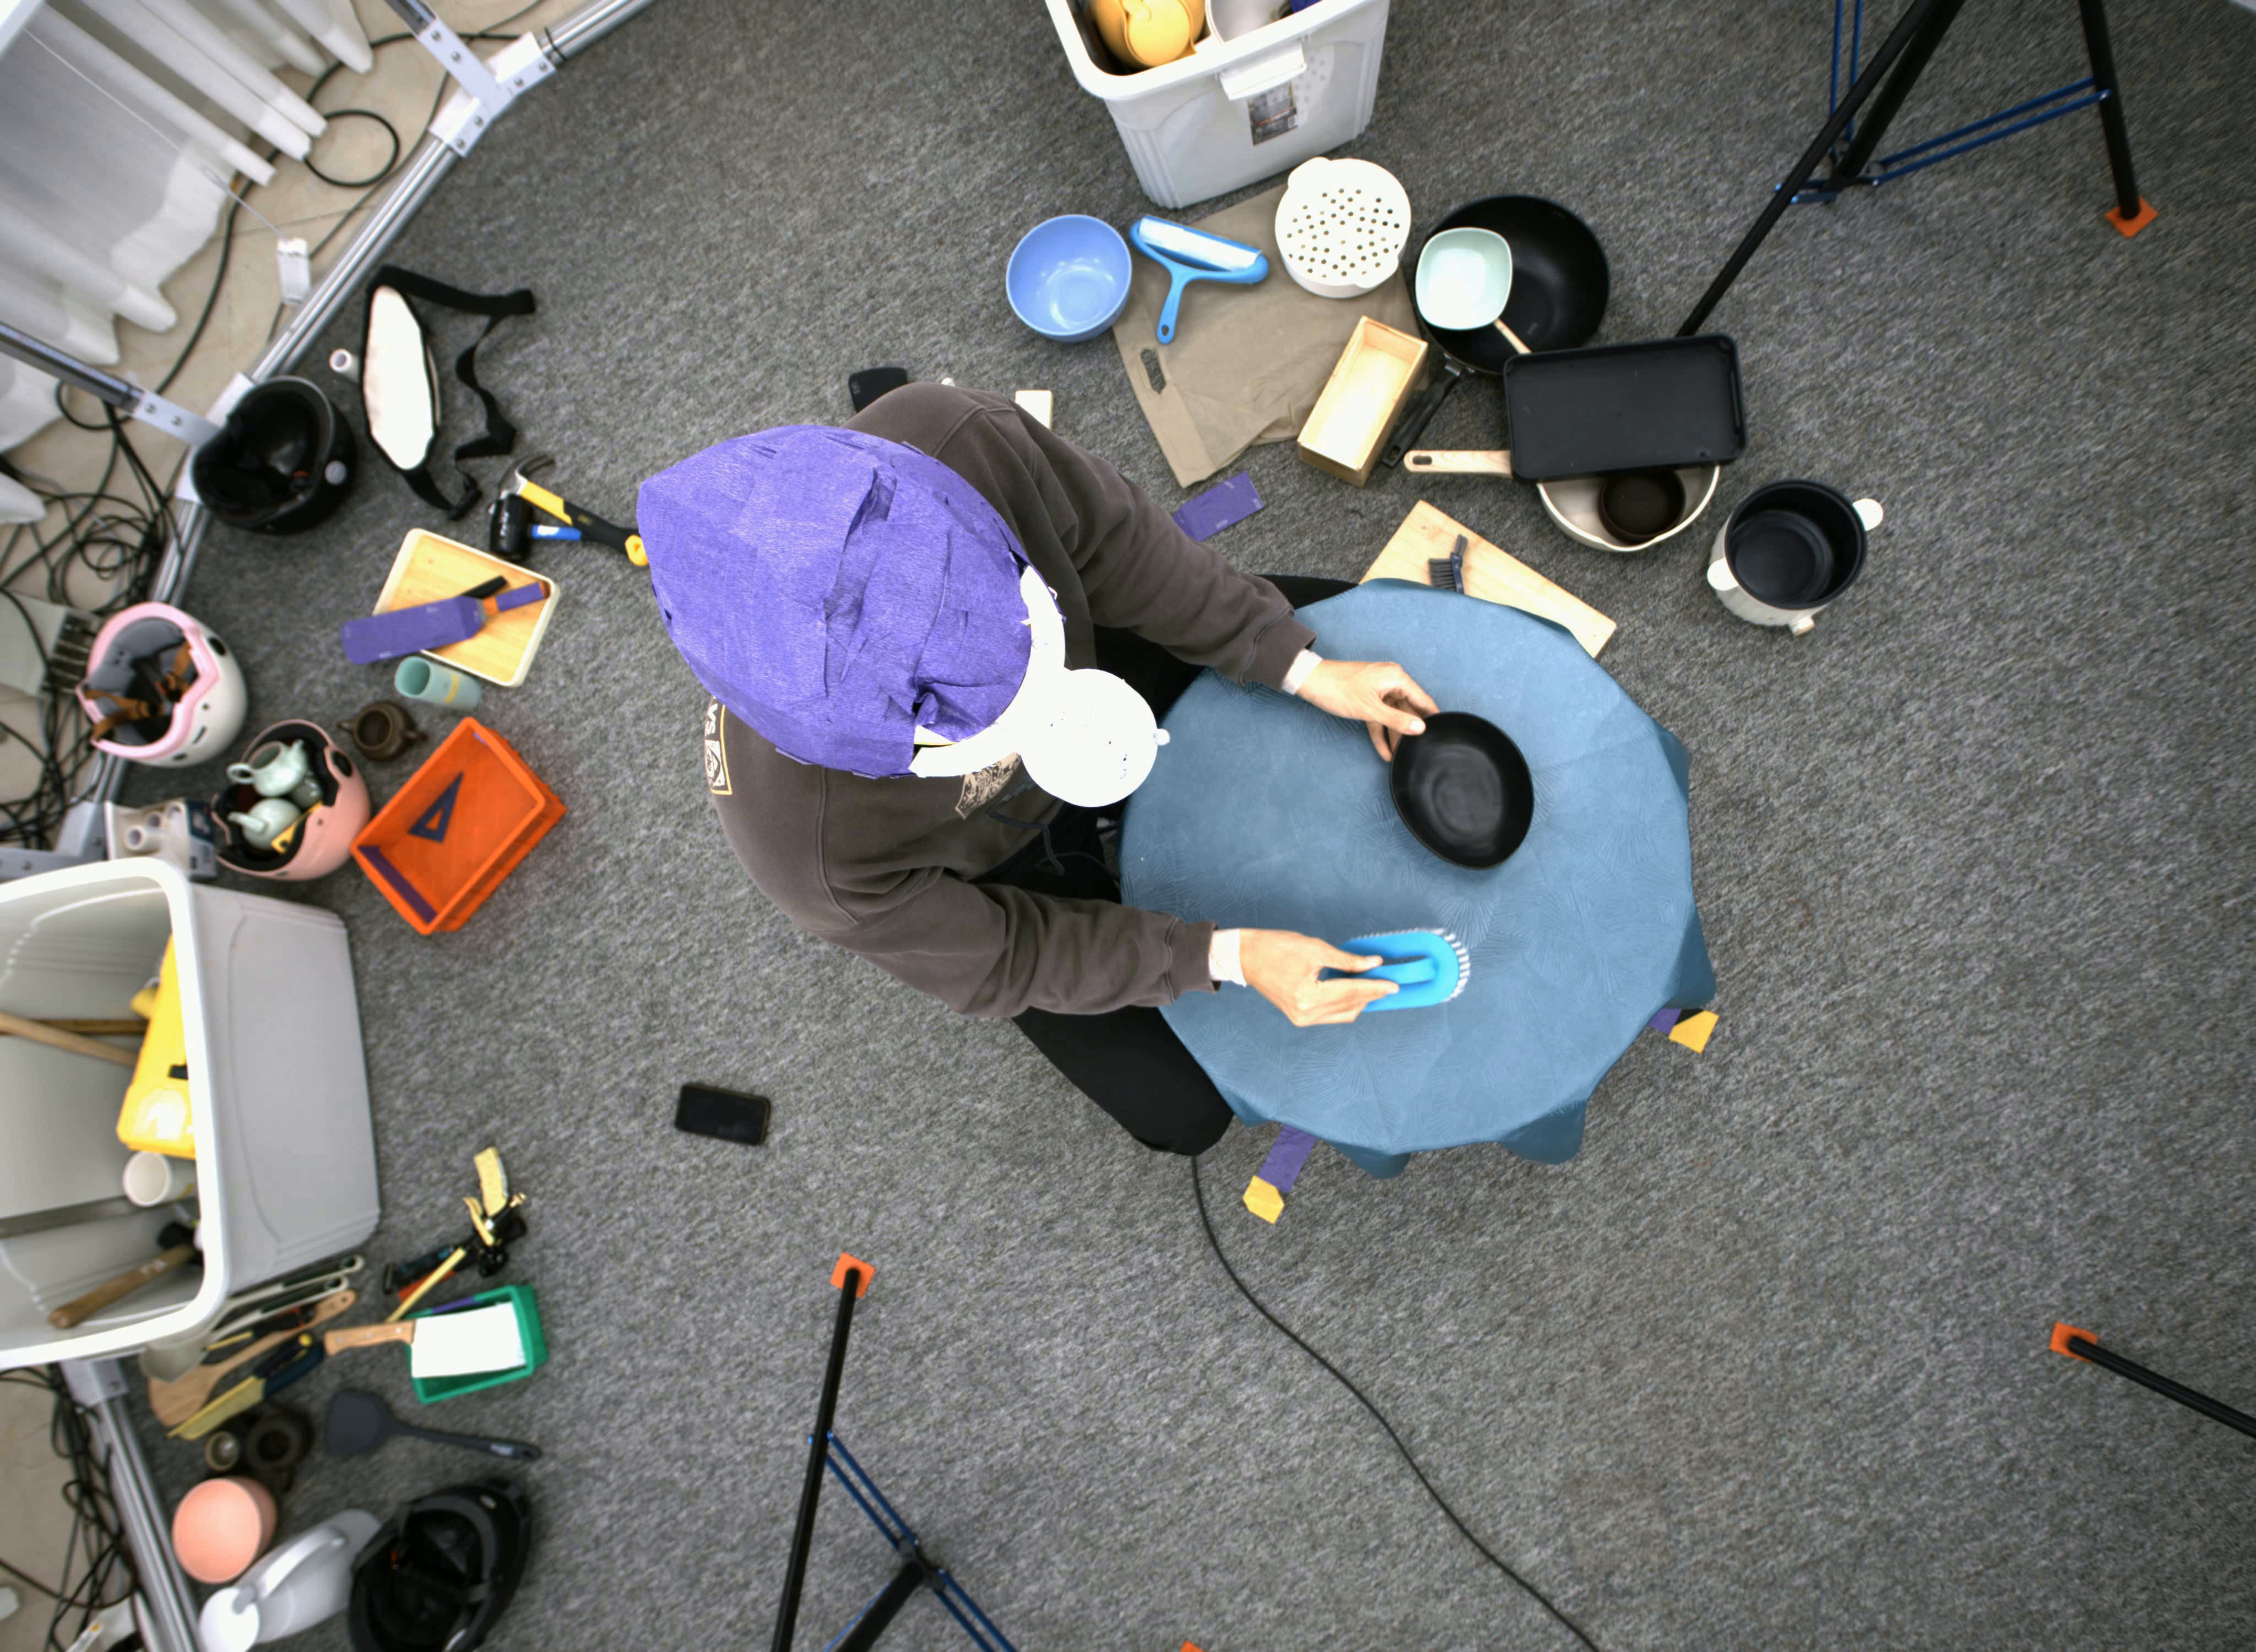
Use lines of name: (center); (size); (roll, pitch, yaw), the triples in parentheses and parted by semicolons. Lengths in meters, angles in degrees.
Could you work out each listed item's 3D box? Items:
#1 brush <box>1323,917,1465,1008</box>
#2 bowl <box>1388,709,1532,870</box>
brush: (0.255, 0.137, 1.352); (0.143, 0.063, 0.084); (-7, 96, 35)
bowl: (0.342, -0.038, 1.417); (0.138, 0.066, 0.169); (-28, 84, 8)
